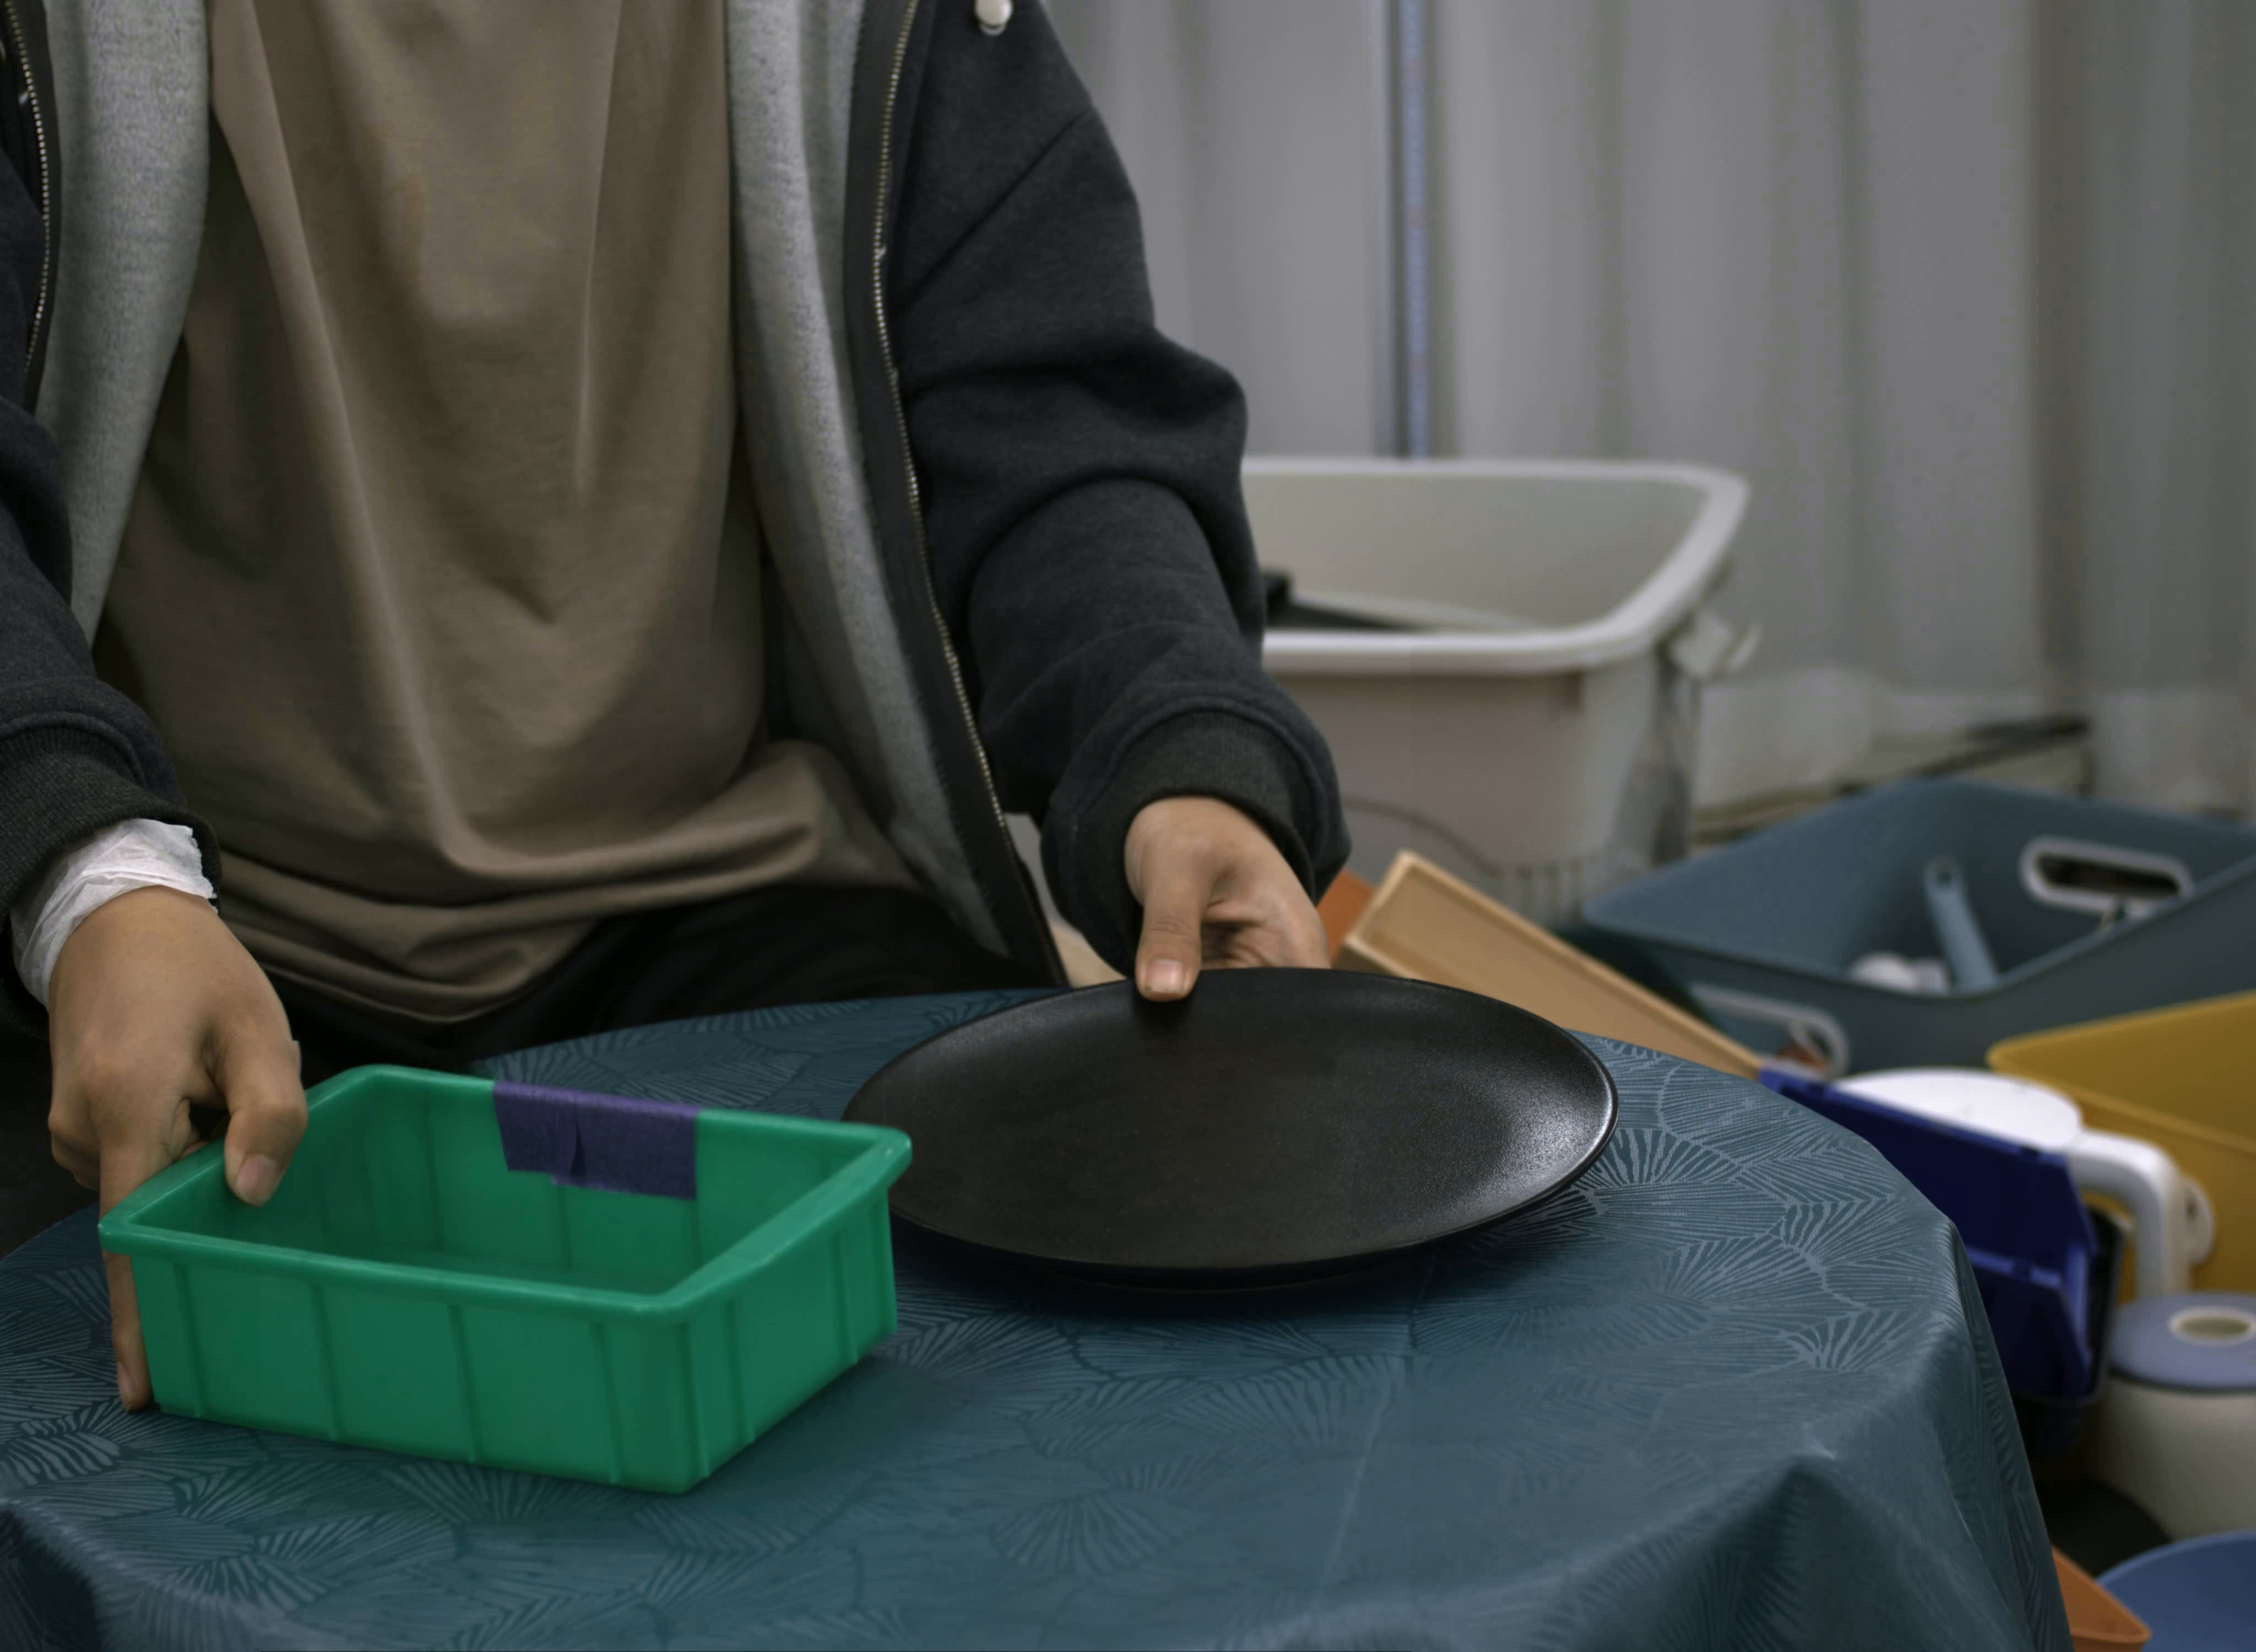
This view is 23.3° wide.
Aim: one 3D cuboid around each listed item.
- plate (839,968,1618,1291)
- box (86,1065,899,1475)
[{"bbox_3d":[0.031,0.098,1.704,0.243,0.023,0.246,-3,19,1],"label":"plate"},{"bbox_3d":[-0.178,0.126,1.566,0.211,0.065,0.139,2,18,28],"label":"box"}]
